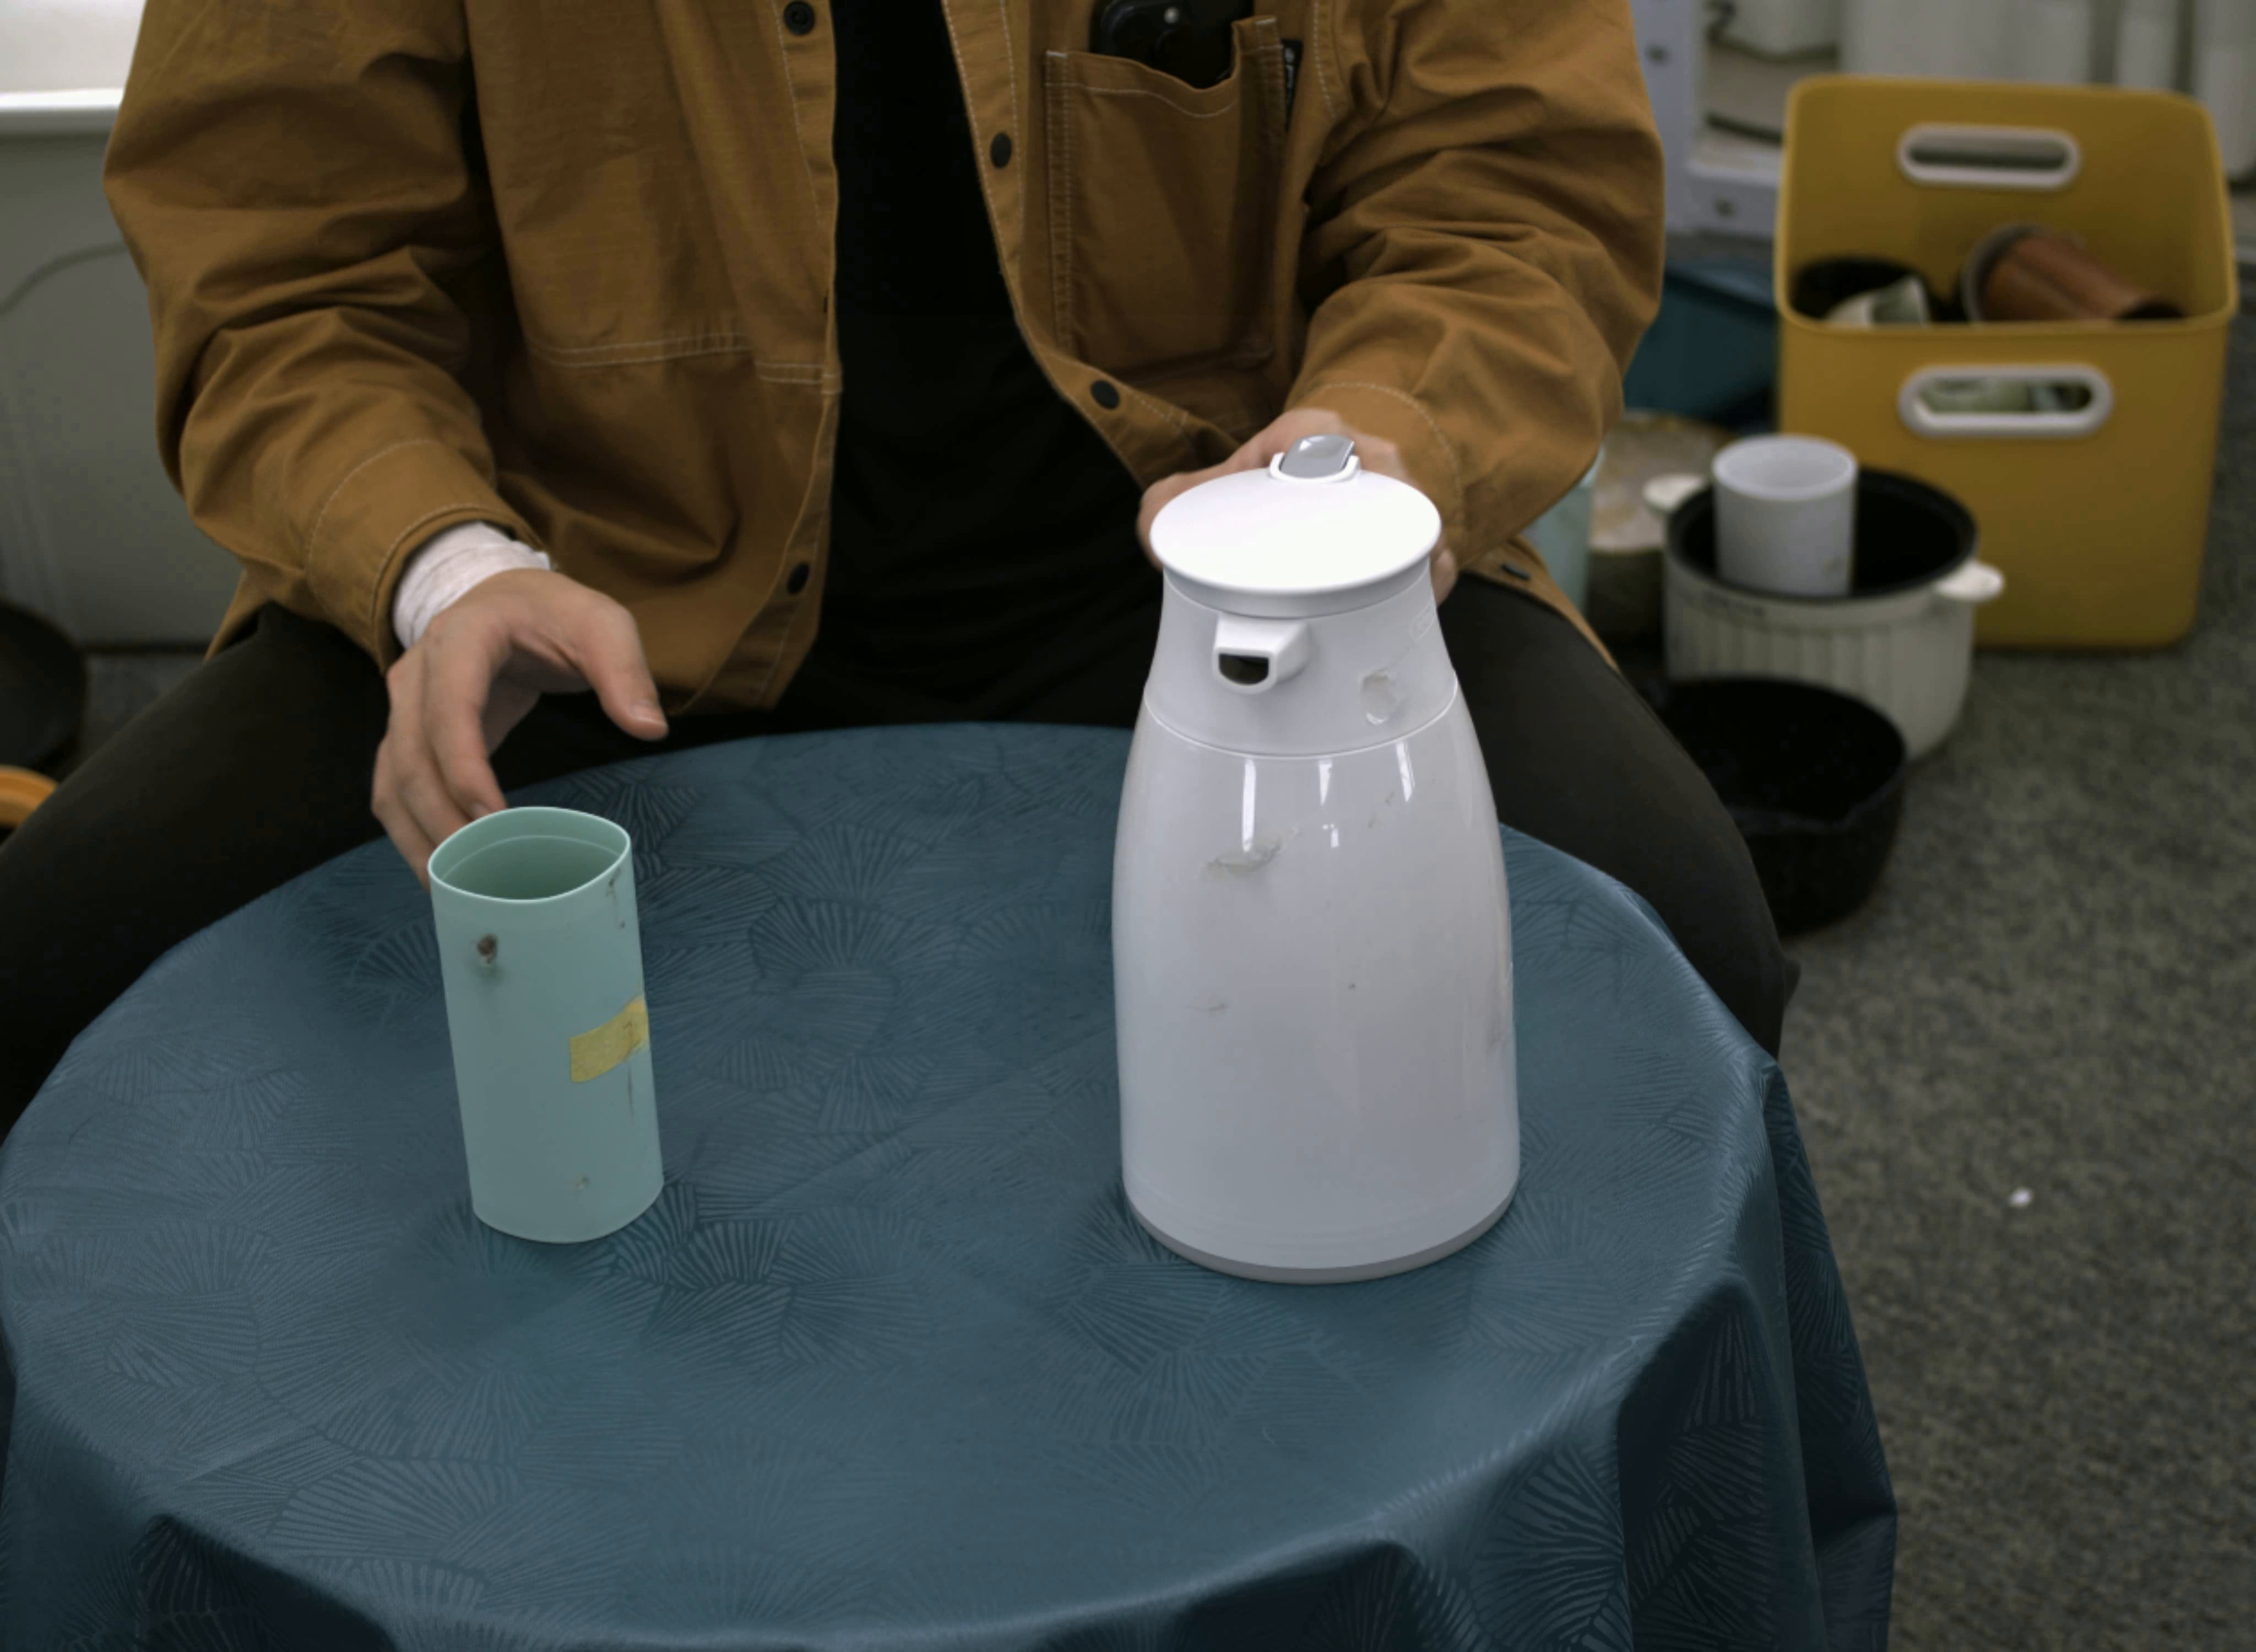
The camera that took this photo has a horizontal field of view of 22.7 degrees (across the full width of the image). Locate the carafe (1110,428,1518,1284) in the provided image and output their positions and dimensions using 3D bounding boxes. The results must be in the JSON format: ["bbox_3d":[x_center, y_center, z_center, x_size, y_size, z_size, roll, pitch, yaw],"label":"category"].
[{"bbox_3d":[0.061,-0.001,1.824,0.131,0.246,0.170,4,27,15],"label":"carafe"}]

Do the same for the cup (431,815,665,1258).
[{"bbox_3d":[-0.191,0.069,1.846,0.066,0.131,0.068,-2,26,1],"label":"cup"}]
